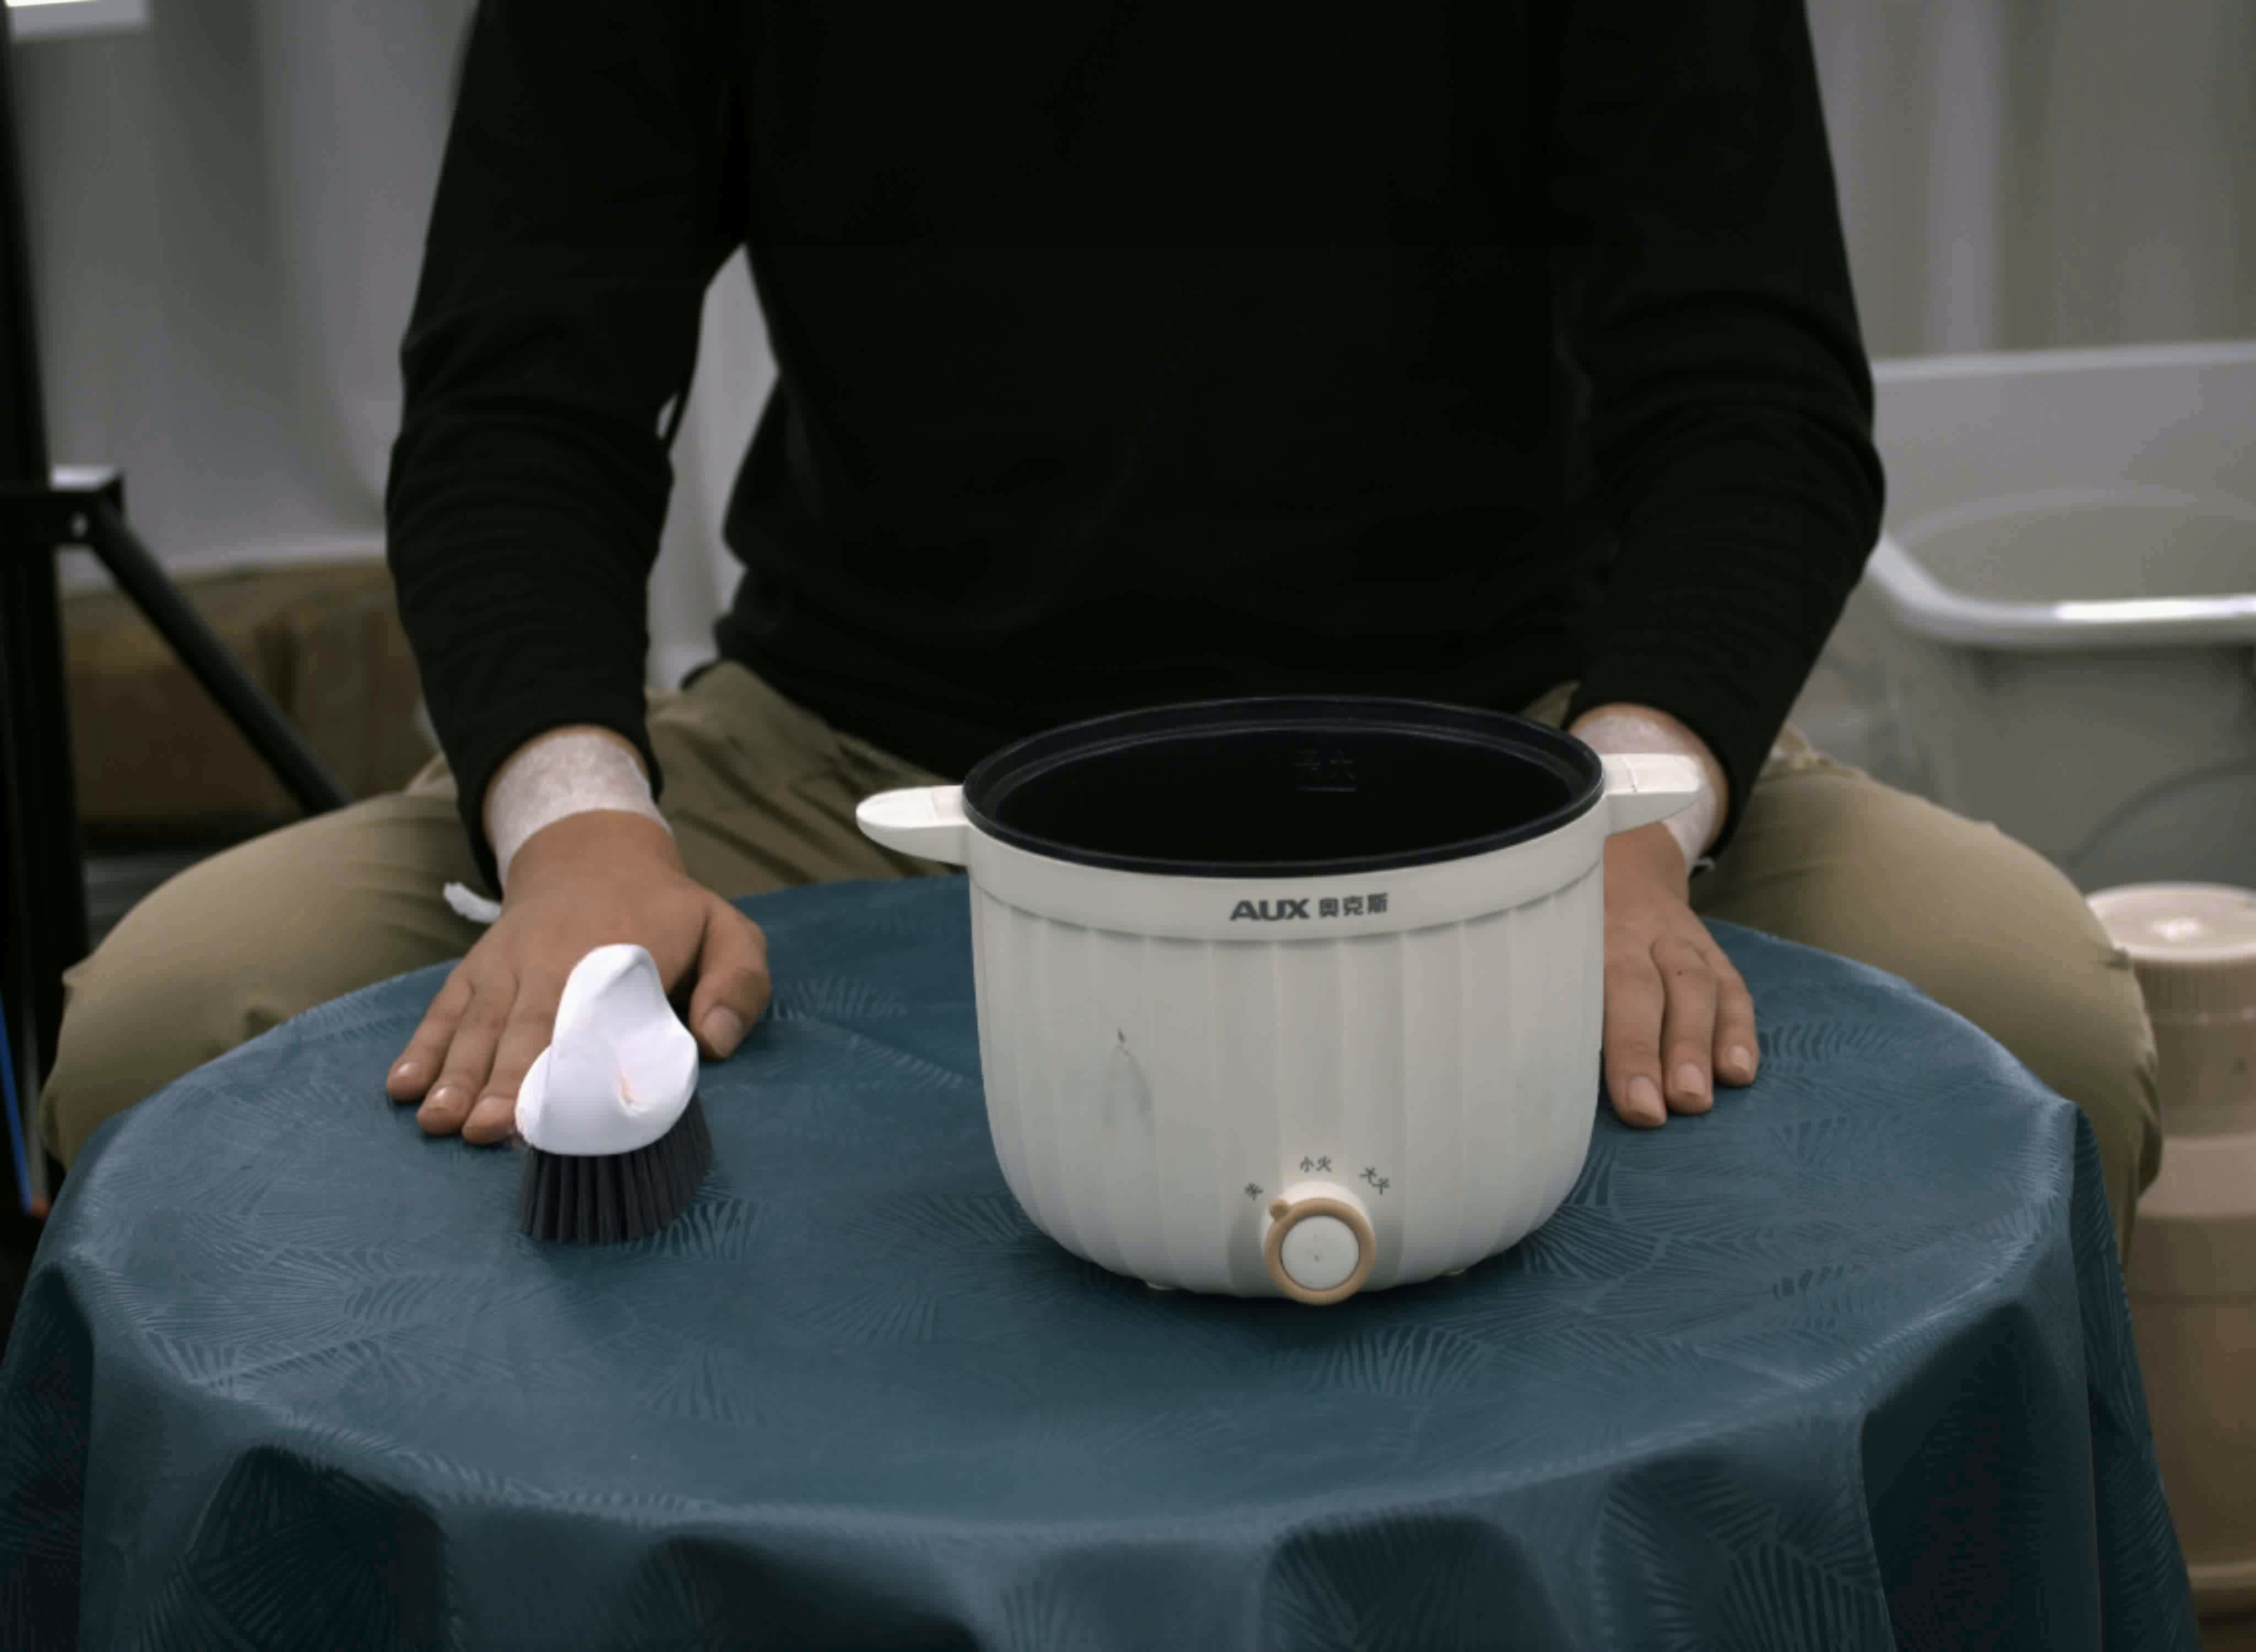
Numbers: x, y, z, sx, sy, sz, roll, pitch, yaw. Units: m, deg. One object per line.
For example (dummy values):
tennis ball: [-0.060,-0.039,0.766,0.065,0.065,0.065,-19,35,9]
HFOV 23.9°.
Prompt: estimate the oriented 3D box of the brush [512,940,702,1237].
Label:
brush: [-0.155,0.072,1.575,0.050,0.072,0.099,0,16,6]

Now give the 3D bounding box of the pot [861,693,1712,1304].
pot: [0.048,0.051,1.498,0.239,0.143,0.191,-4,13,-1]
